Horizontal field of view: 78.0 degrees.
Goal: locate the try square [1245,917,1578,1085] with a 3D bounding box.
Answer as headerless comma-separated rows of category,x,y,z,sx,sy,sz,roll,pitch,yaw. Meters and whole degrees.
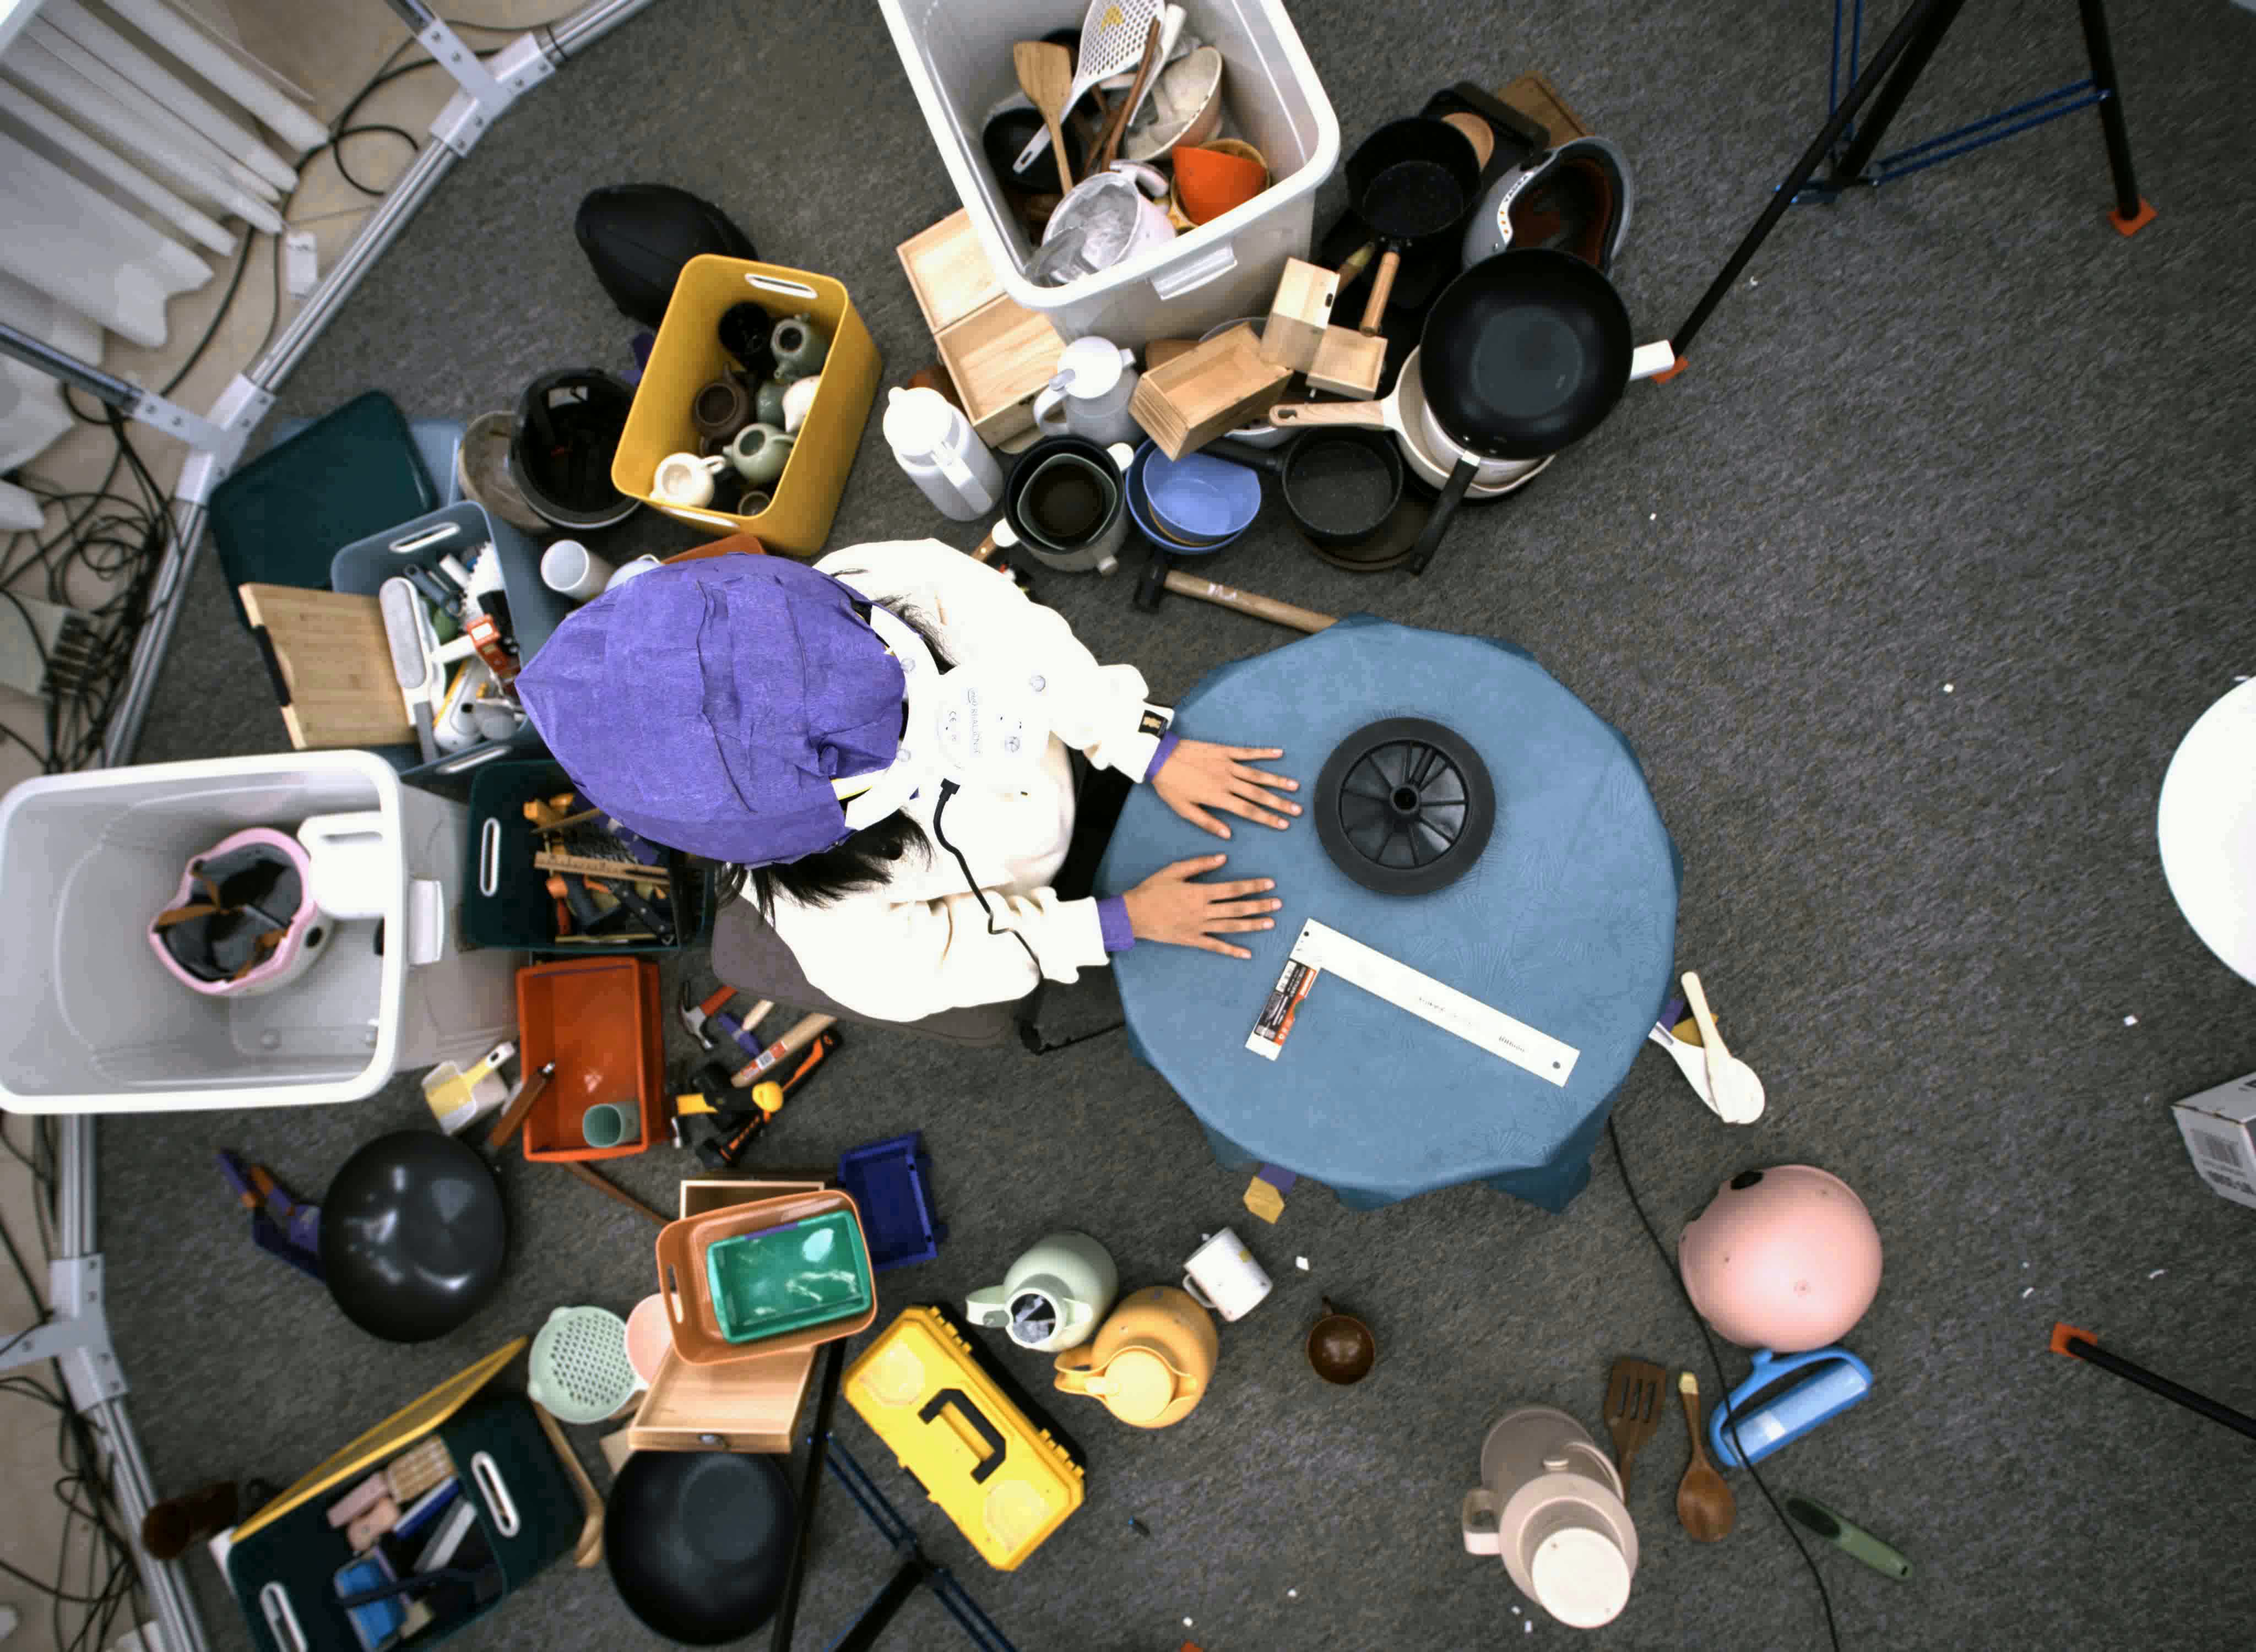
try square,0.293,0.228,1.446,0.312,0.016,0.153,26,95,10

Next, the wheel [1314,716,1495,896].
wheel,0.285,-0.025,1.424,0.188,0.079,0.189,4,87,11
